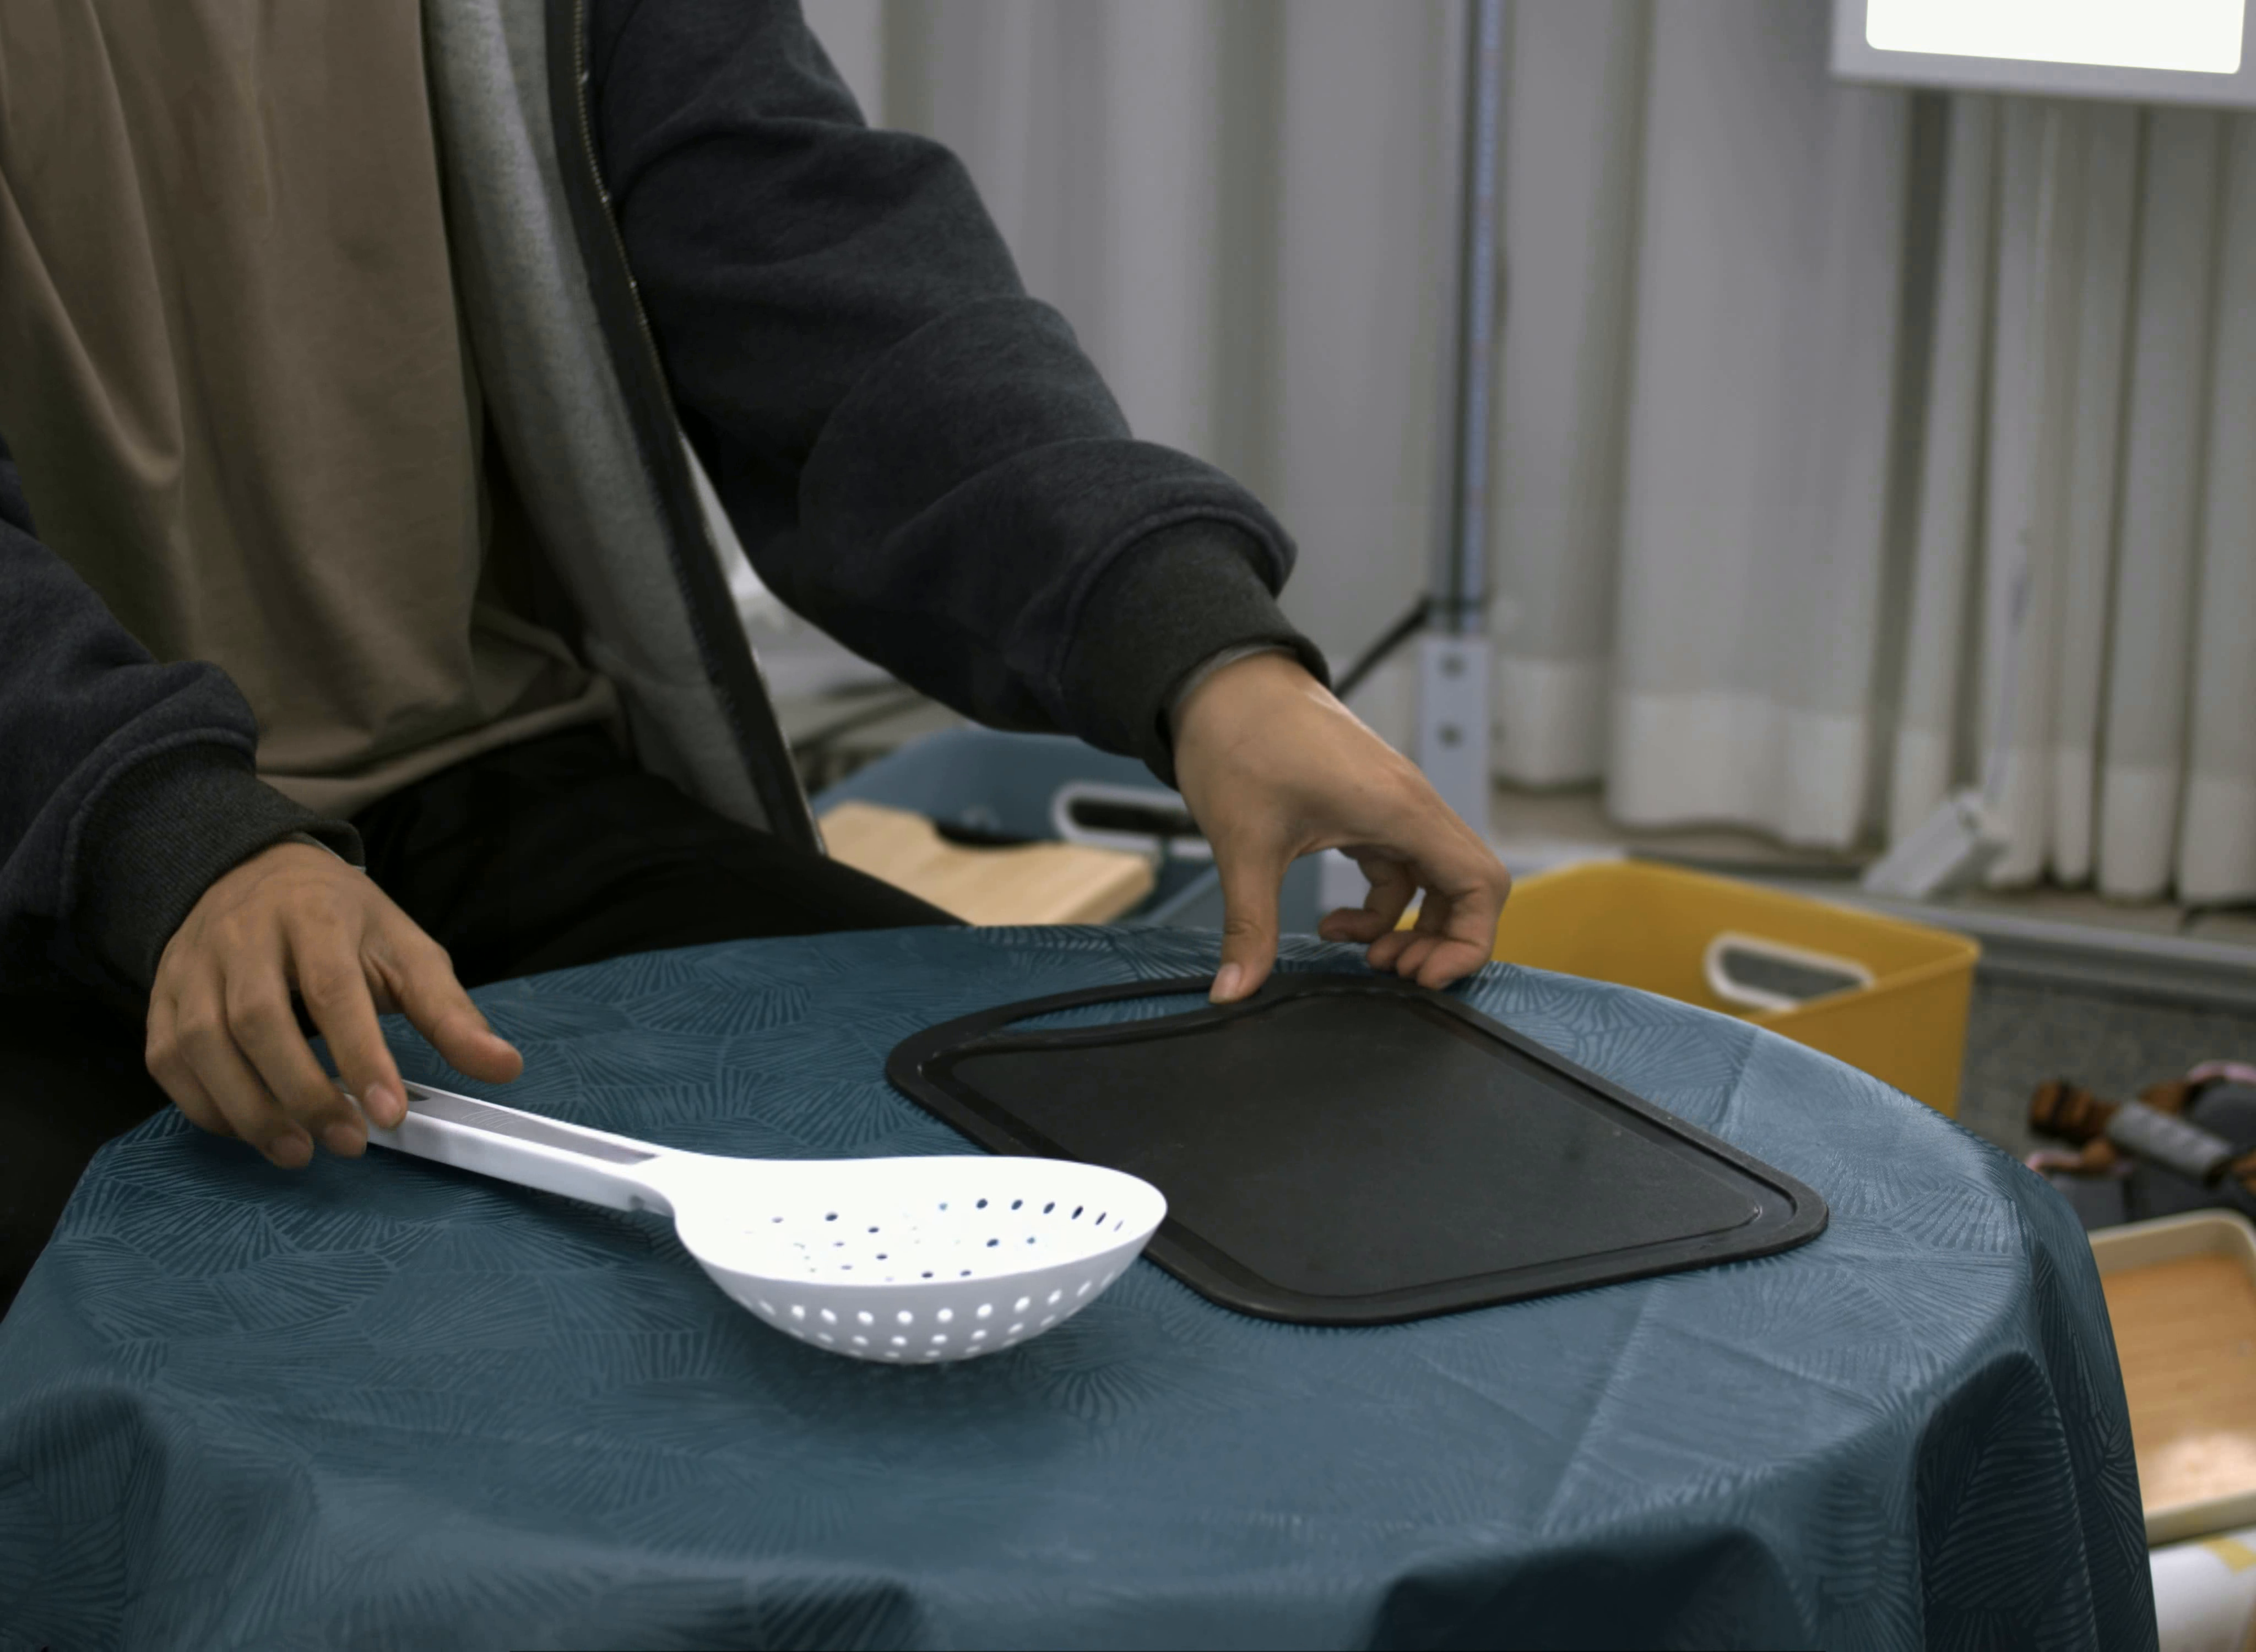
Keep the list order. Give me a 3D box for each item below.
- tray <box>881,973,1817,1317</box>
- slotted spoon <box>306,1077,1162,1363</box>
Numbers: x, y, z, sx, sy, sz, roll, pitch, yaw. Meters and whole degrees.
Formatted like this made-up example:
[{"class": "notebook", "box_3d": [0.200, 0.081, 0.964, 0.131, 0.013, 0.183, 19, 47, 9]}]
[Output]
[{"class": "tray", "box_3d": [0.060, 0.094, 1.678, 0.212, 0.010, 0.321, -7, 17, -26]}, {"class": "slotted spoon", "box_3d": [-0.133, 0.106, 1.555, 0.137, 0.046, 0.345, -12, 19, -43]}]
